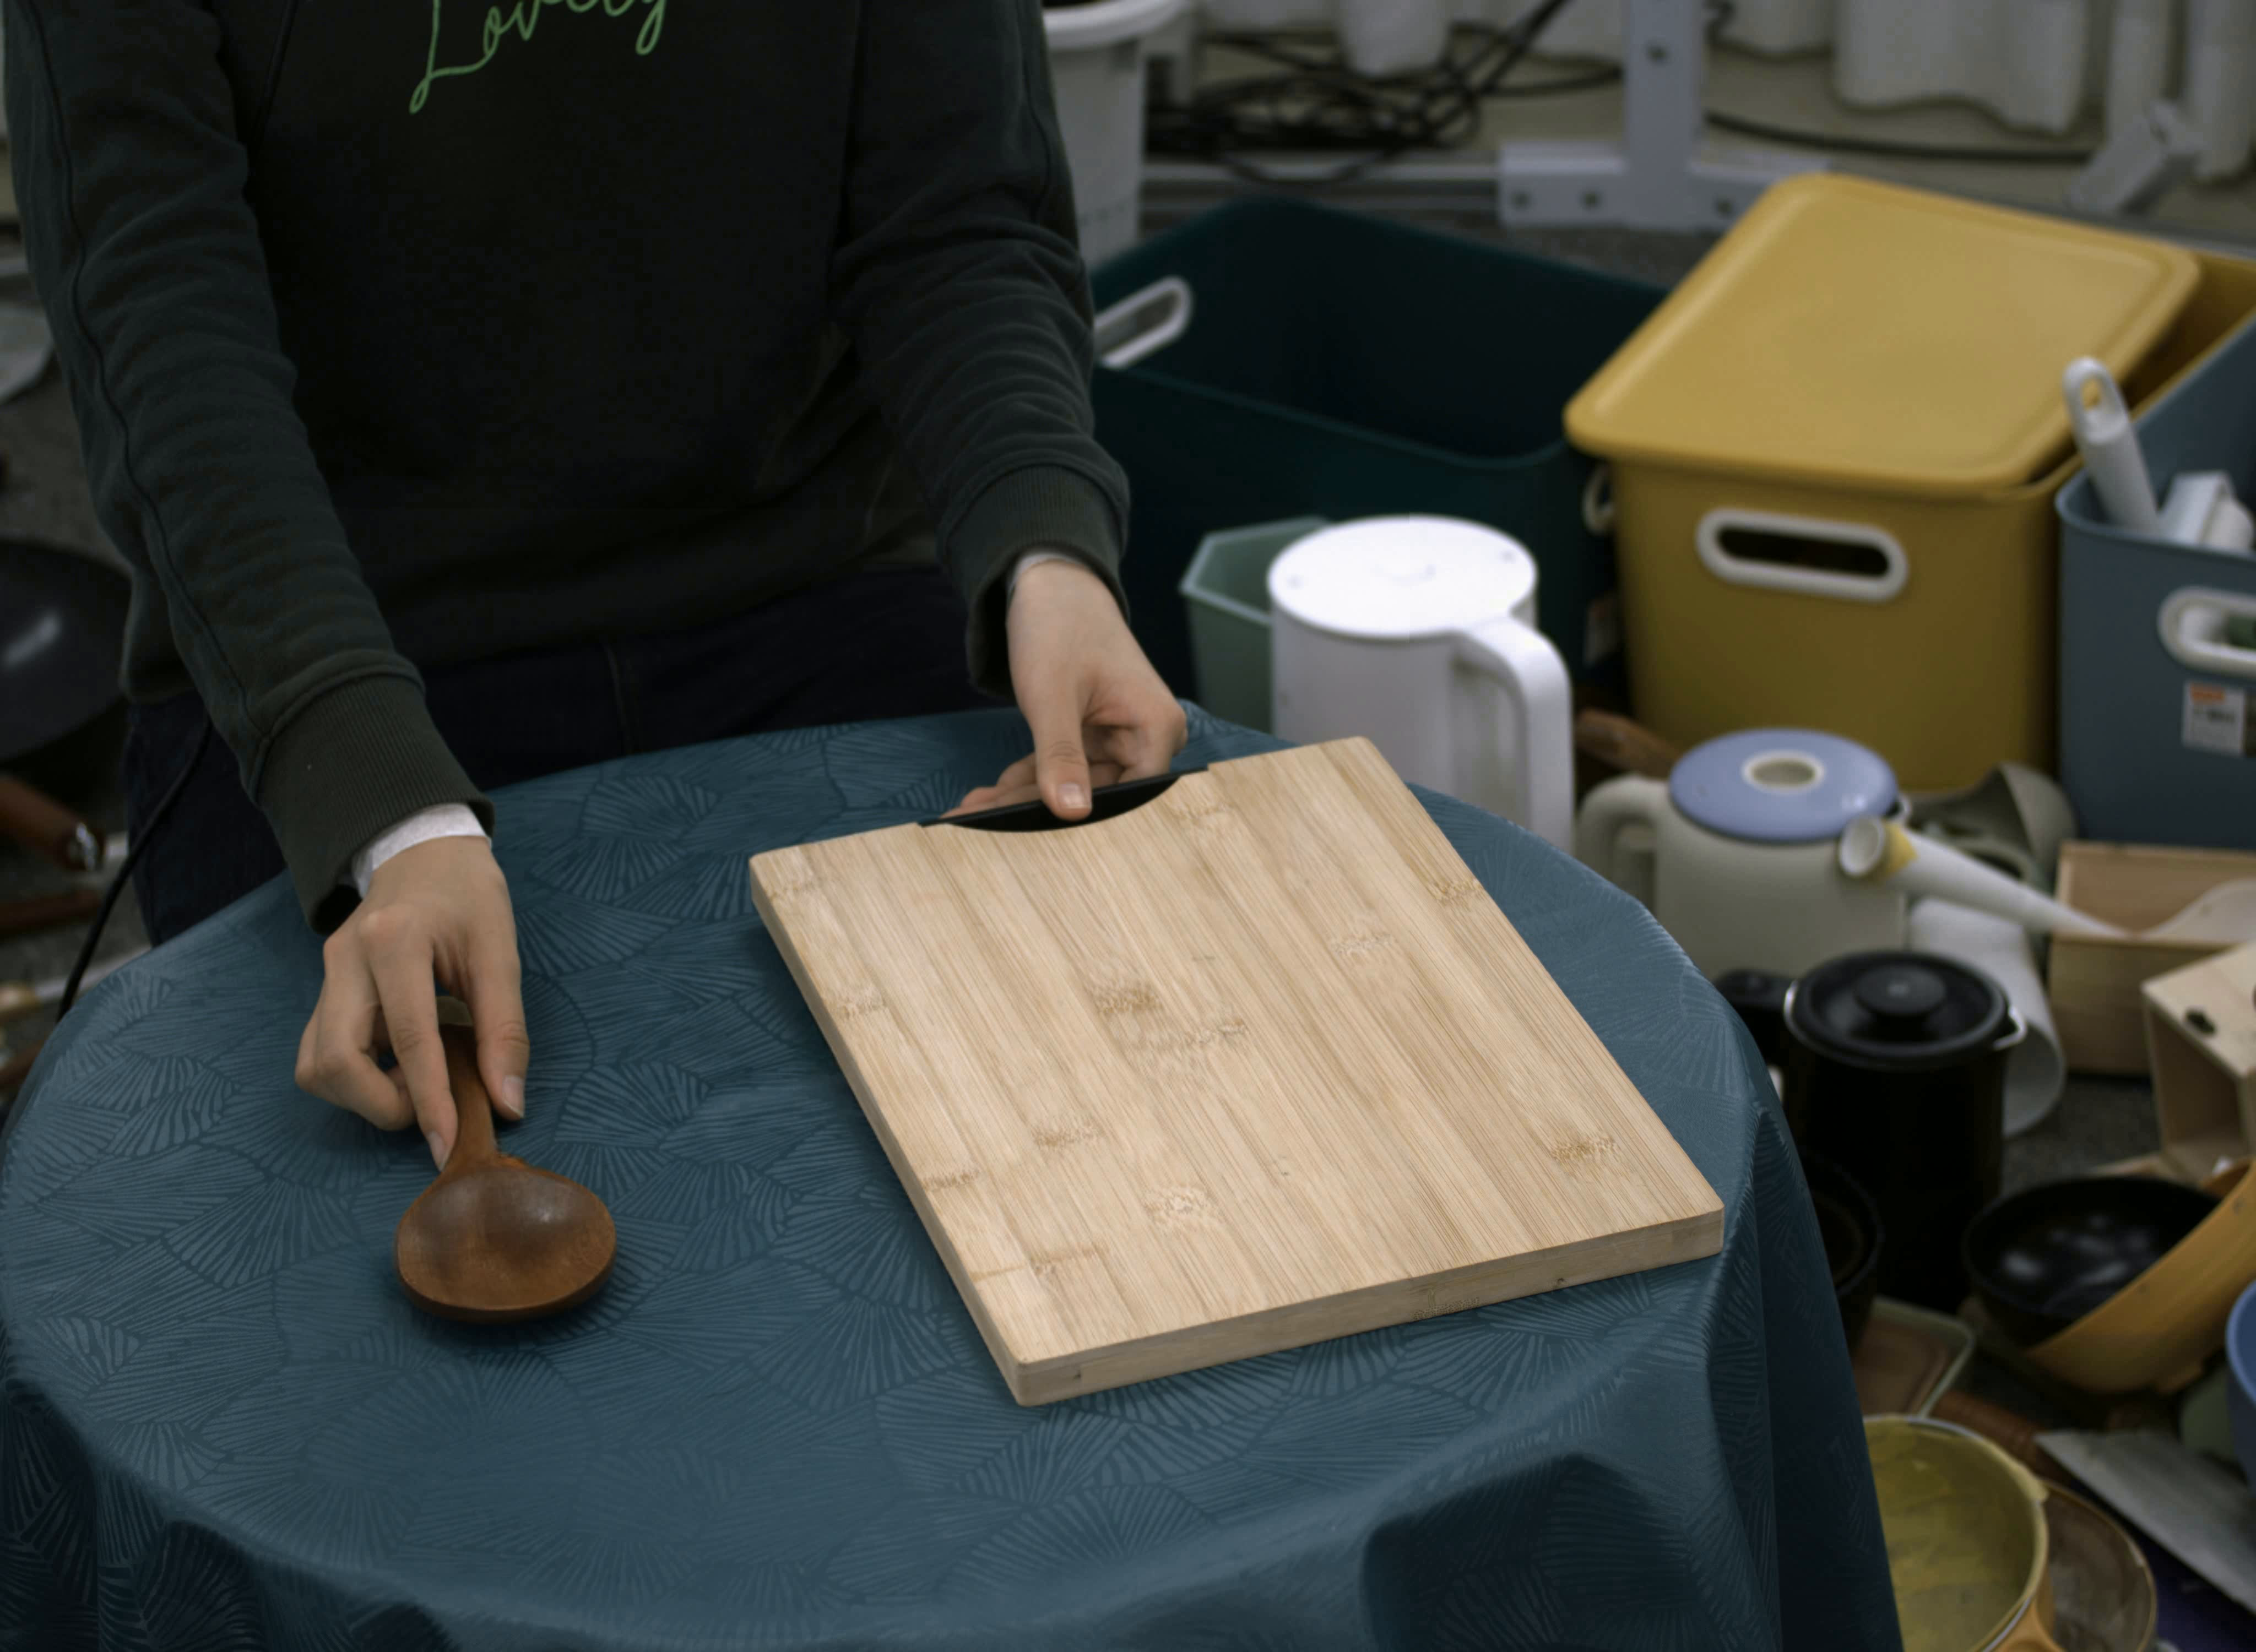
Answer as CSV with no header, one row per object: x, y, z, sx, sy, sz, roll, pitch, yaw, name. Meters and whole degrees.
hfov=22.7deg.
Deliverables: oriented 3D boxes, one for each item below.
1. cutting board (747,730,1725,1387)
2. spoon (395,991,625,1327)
0.027,0.072,1.924,0.251,0.023,0.352,-11,30,-16,cutting board
-0.215,0.112,1.882,0.075,0.017,0.218,-9,28,-10,spoon
